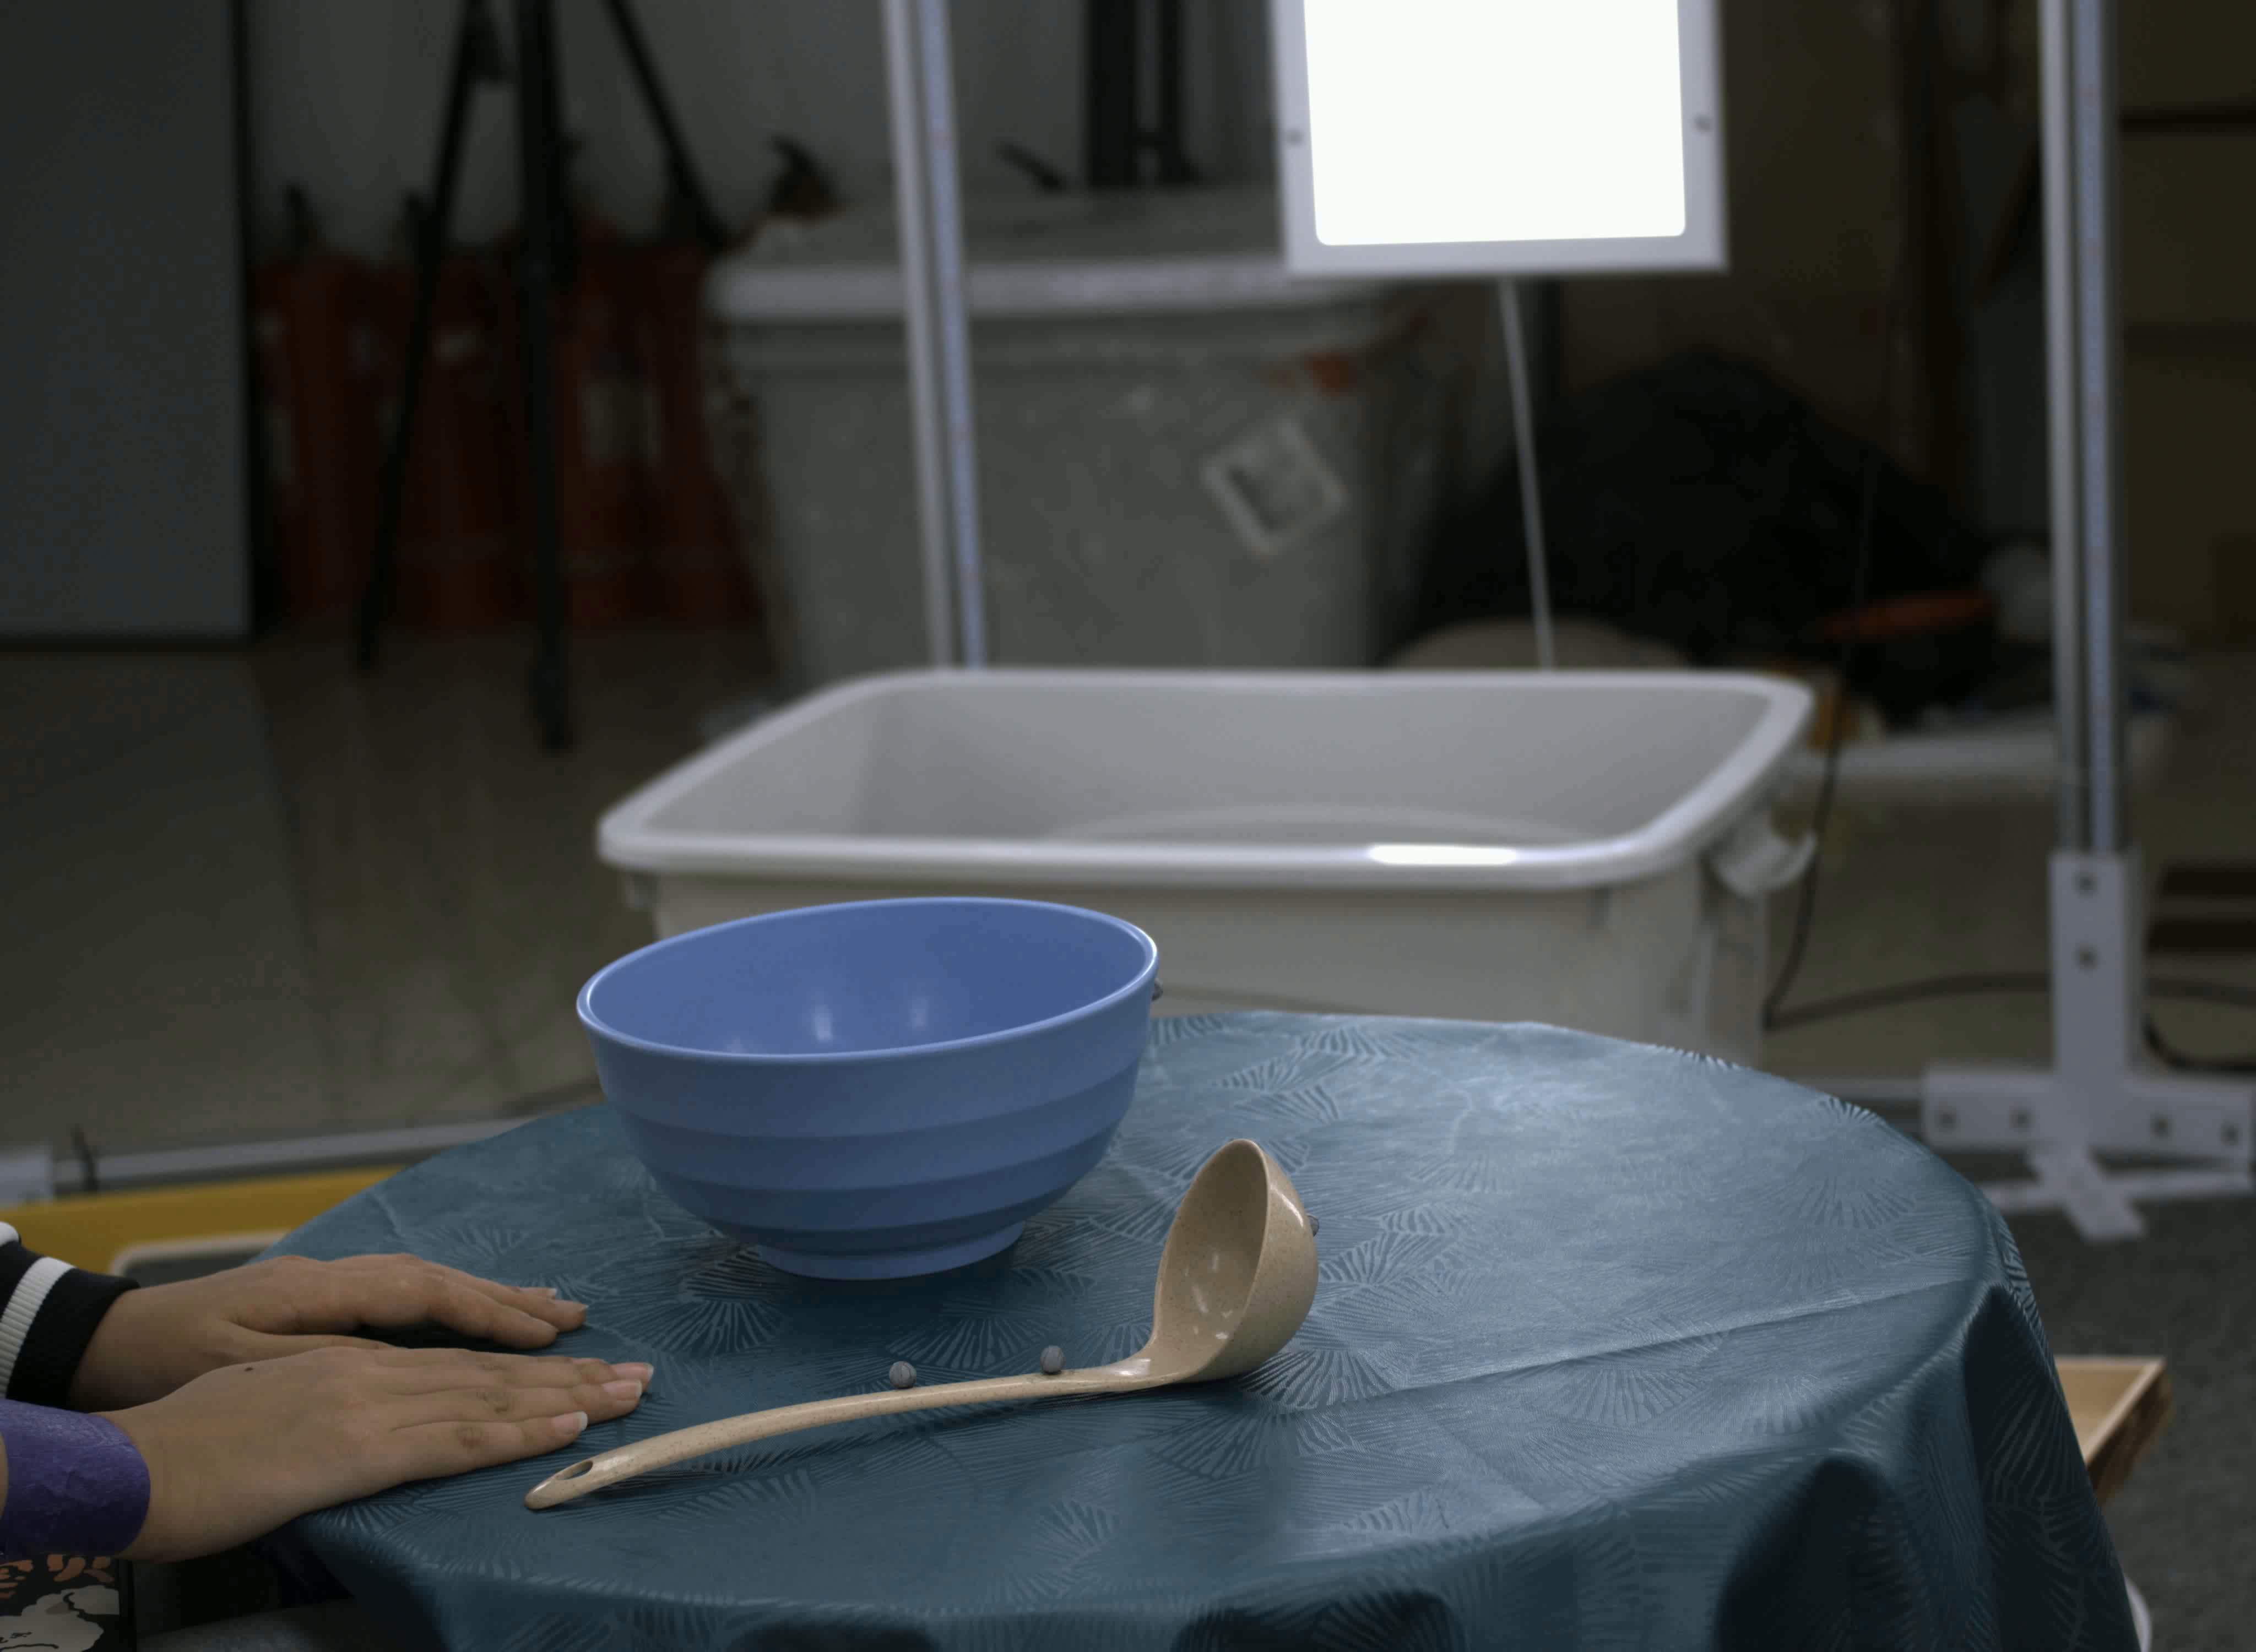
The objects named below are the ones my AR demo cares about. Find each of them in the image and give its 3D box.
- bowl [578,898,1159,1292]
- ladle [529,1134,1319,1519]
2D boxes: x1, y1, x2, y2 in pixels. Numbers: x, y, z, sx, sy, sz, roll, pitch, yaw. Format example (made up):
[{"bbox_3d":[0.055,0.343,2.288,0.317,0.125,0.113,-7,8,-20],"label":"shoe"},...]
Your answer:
[{"bbox_3d":[-0.084,0.097,1.863,0.196,0.096,0.196,-5,15,0],"label":"bowl"},{"bbox_3d":[-0.064,0.150,1.674,0.250,0.073,0.073,-10,13,-18],"label":"ladle"}]
